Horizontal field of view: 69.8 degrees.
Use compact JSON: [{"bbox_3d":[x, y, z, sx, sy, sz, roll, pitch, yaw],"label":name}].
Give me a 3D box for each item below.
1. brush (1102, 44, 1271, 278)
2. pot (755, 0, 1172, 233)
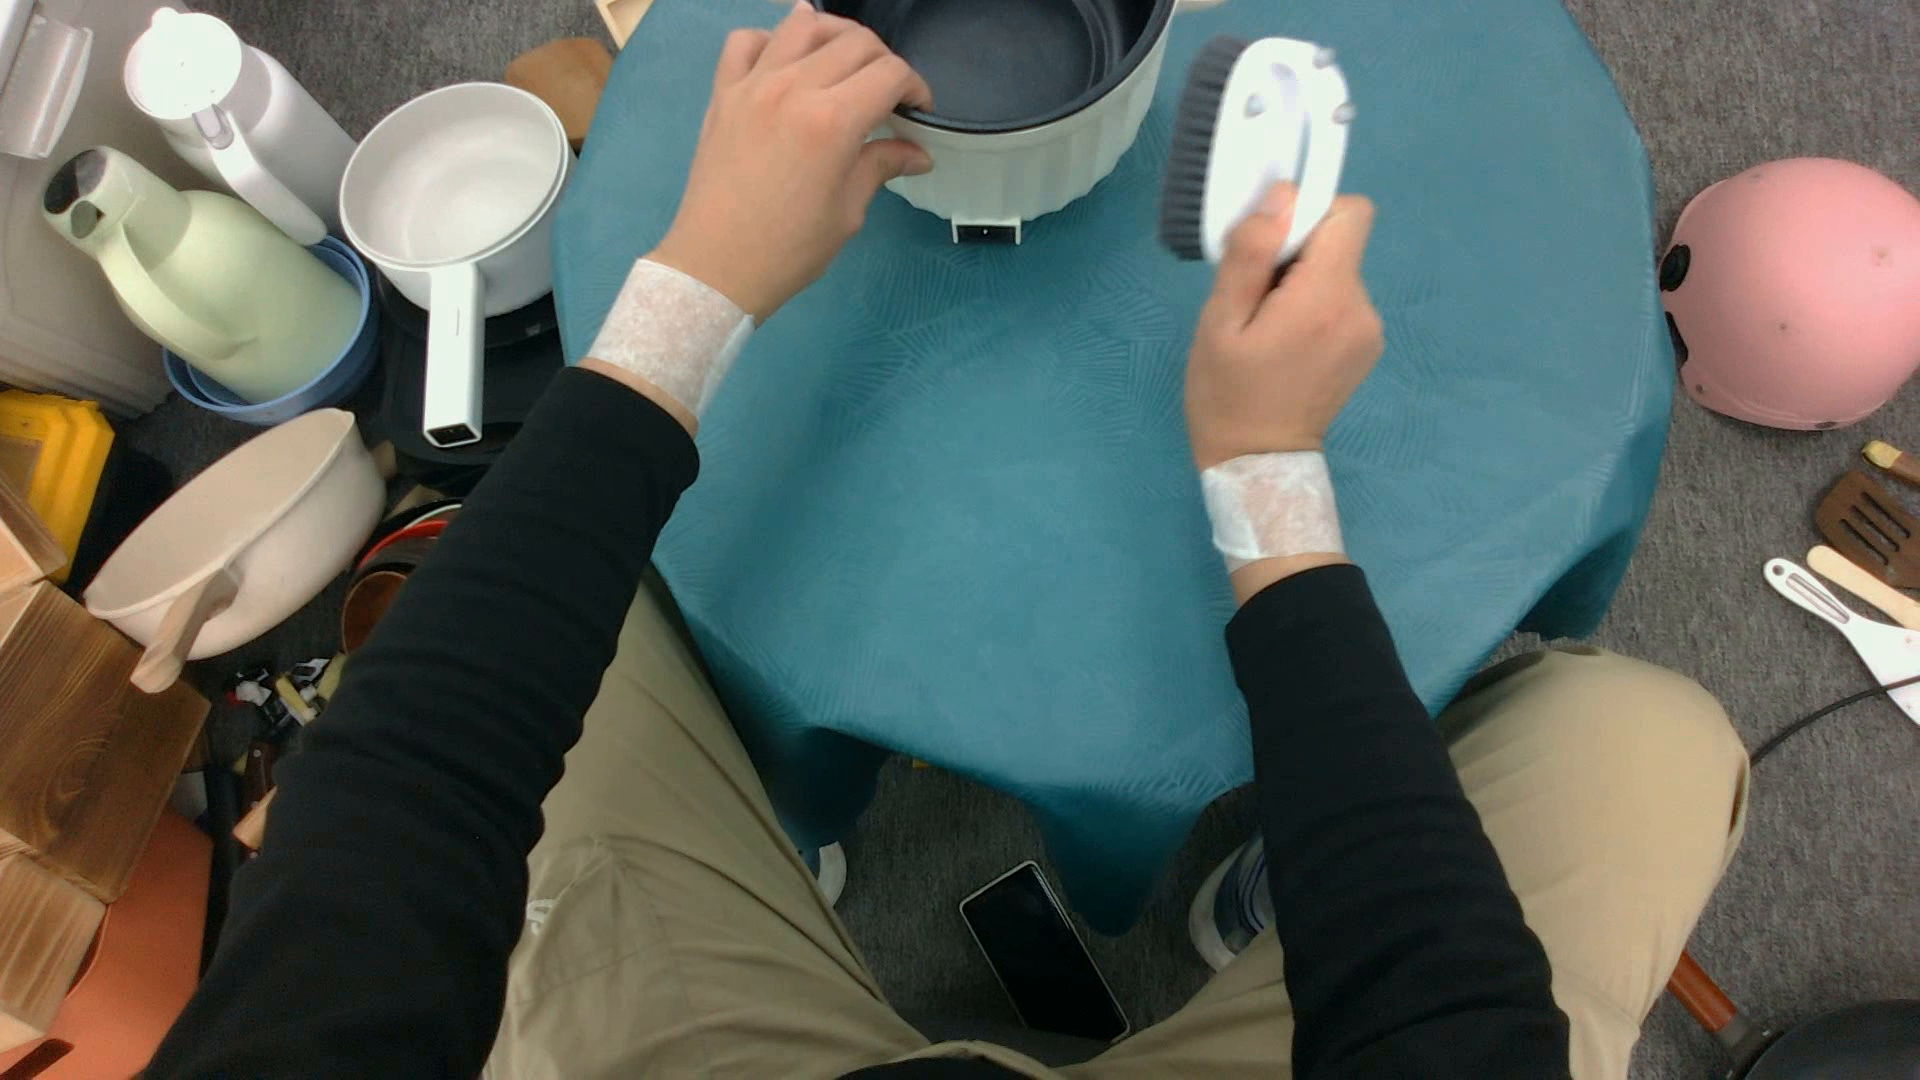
[{"bbox_3d":[0.104,-0.164,0.604,0.050,0.072,0.099,-17,119,-33],"label":"brush"},{"bbox_3d":[0.005,-0.271,0.714,0.240,0.142,0.191,1,81,0],"label":"pot"}]
